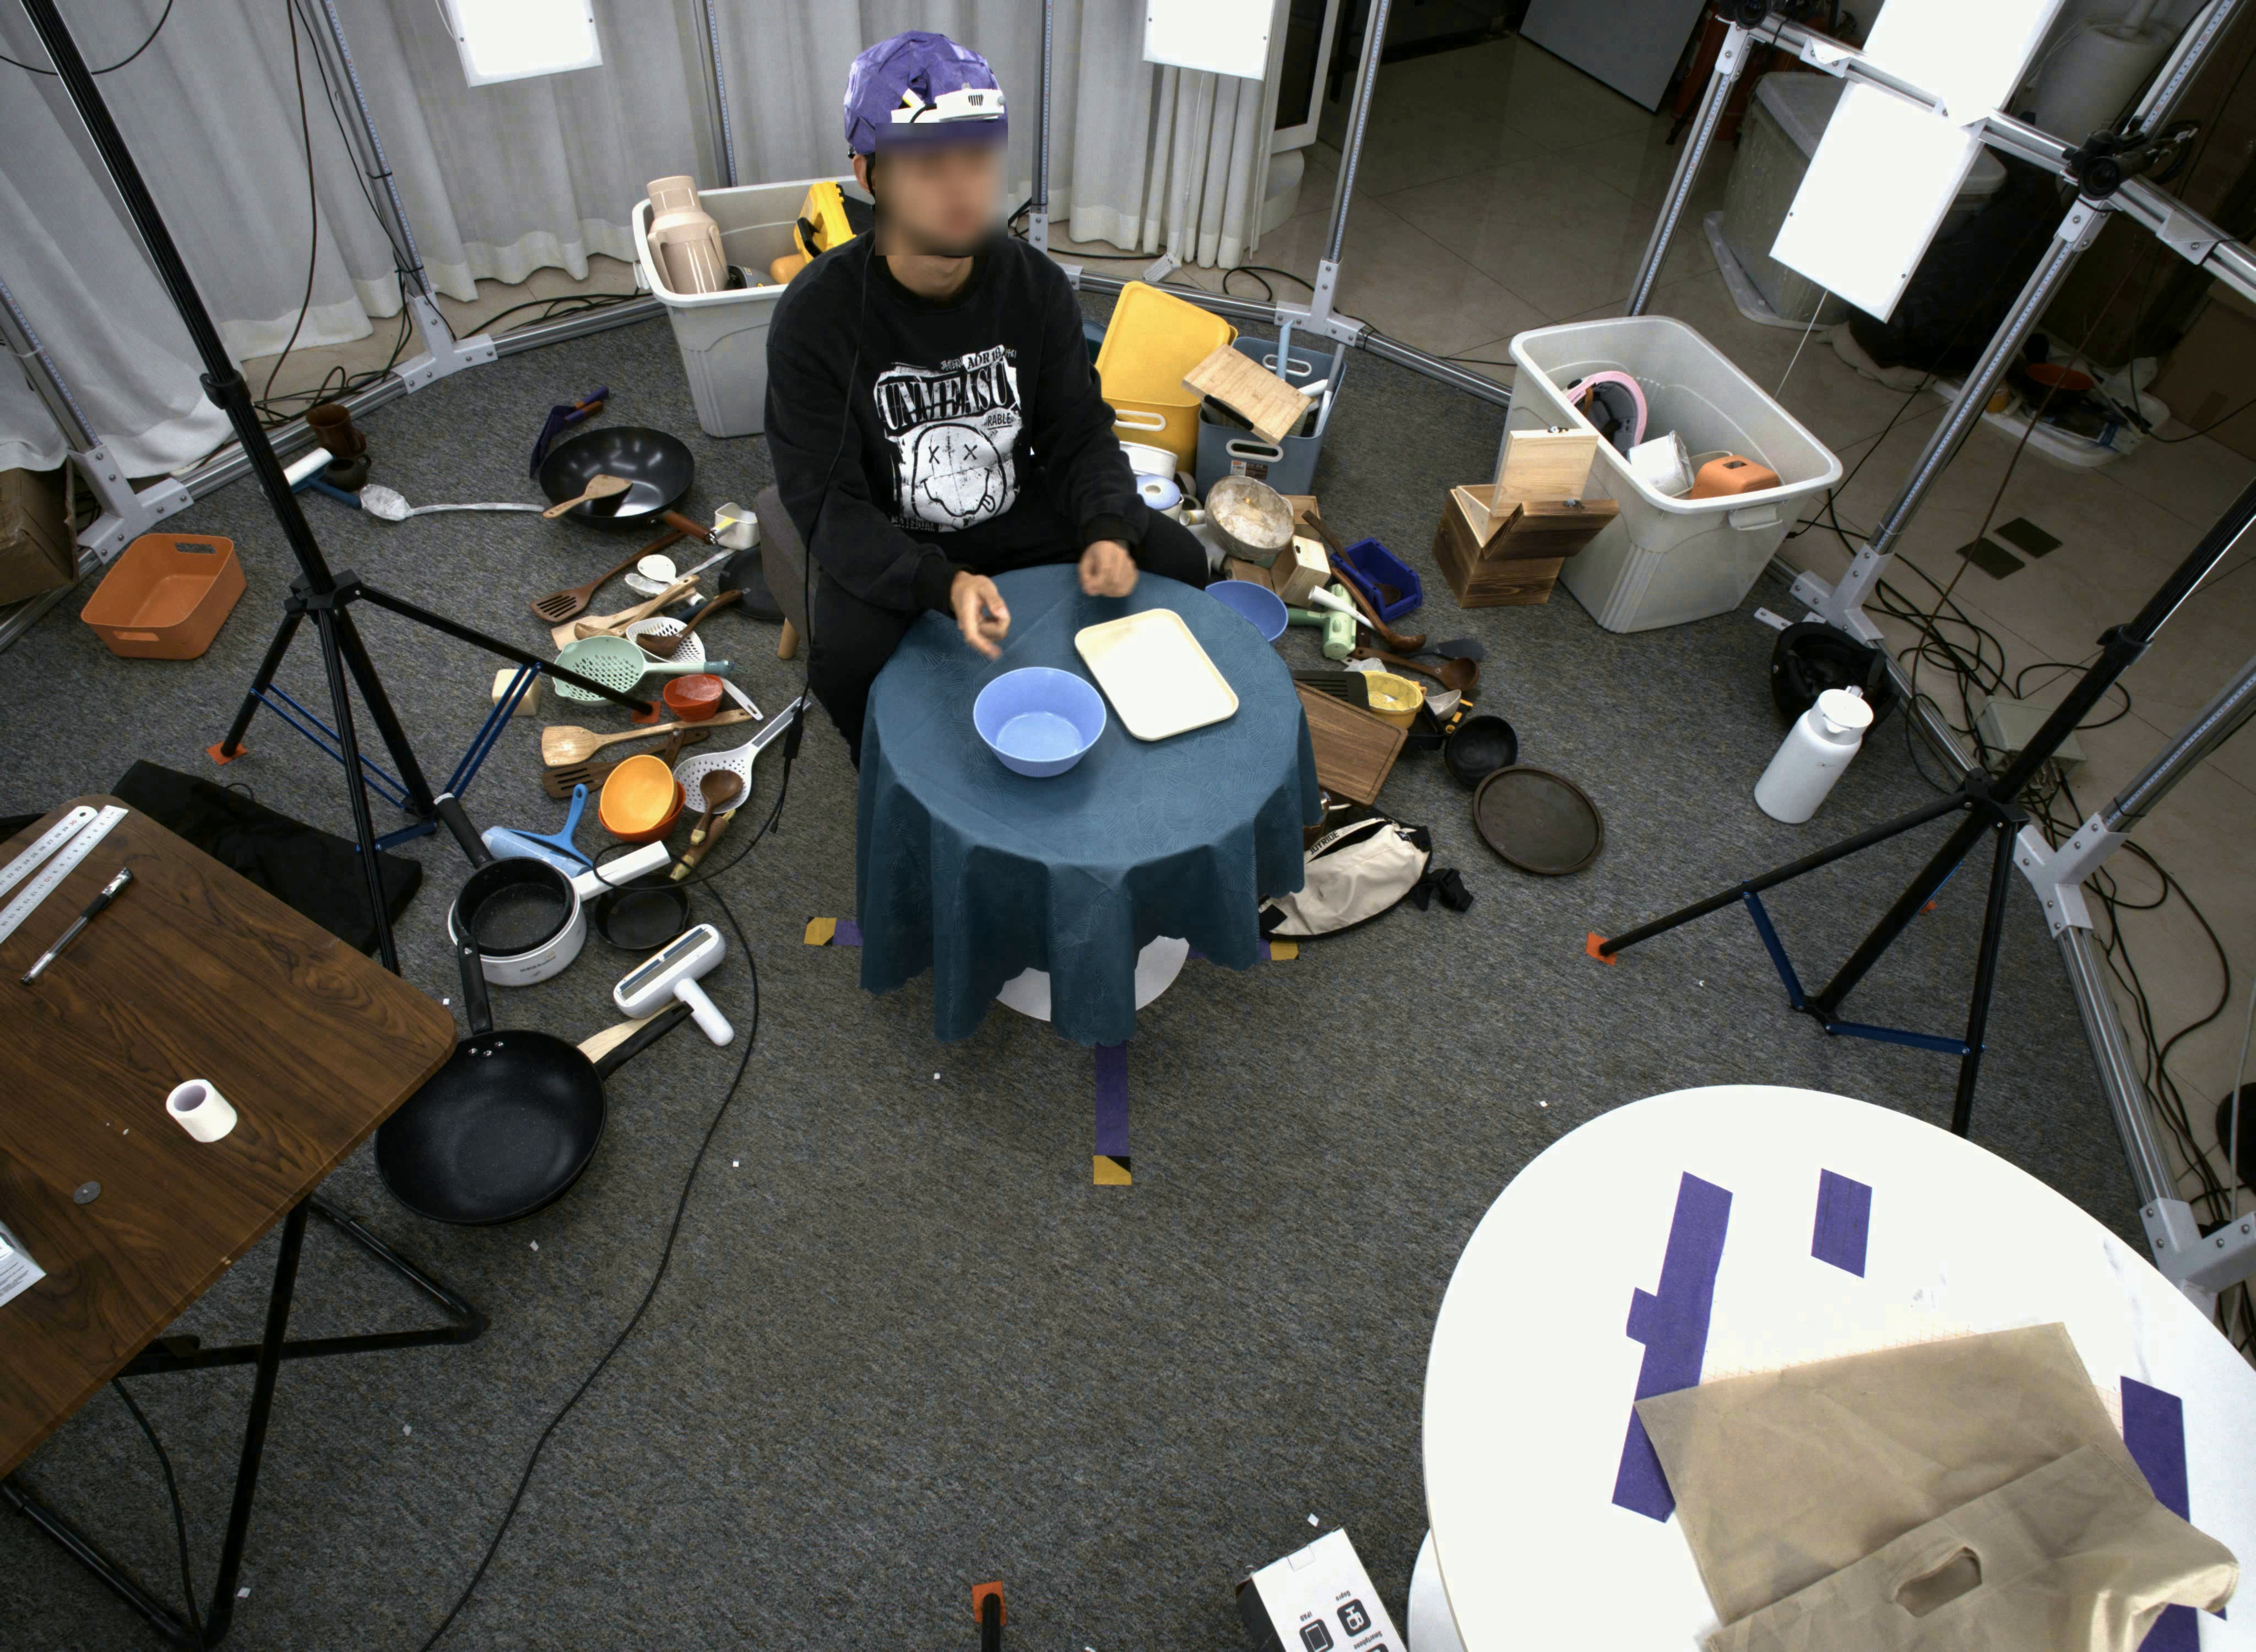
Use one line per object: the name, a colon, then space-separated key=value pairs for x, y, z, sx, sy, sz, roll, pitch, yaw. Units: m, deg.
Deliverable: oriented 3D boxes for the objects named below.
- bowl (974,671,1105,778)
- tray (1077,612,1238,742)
bowl: x=-0.120 y=-0.129 z=1.742 sx=0.176 sy=0.068 sz=0.180 roll=2 pitch=48 yaw=-3
tray: x=0.040 y=-0.218 z=1.866 sx=0.171 sy=0.017 sz=0.245 roll=-17 pitch=52 yaw=-18
